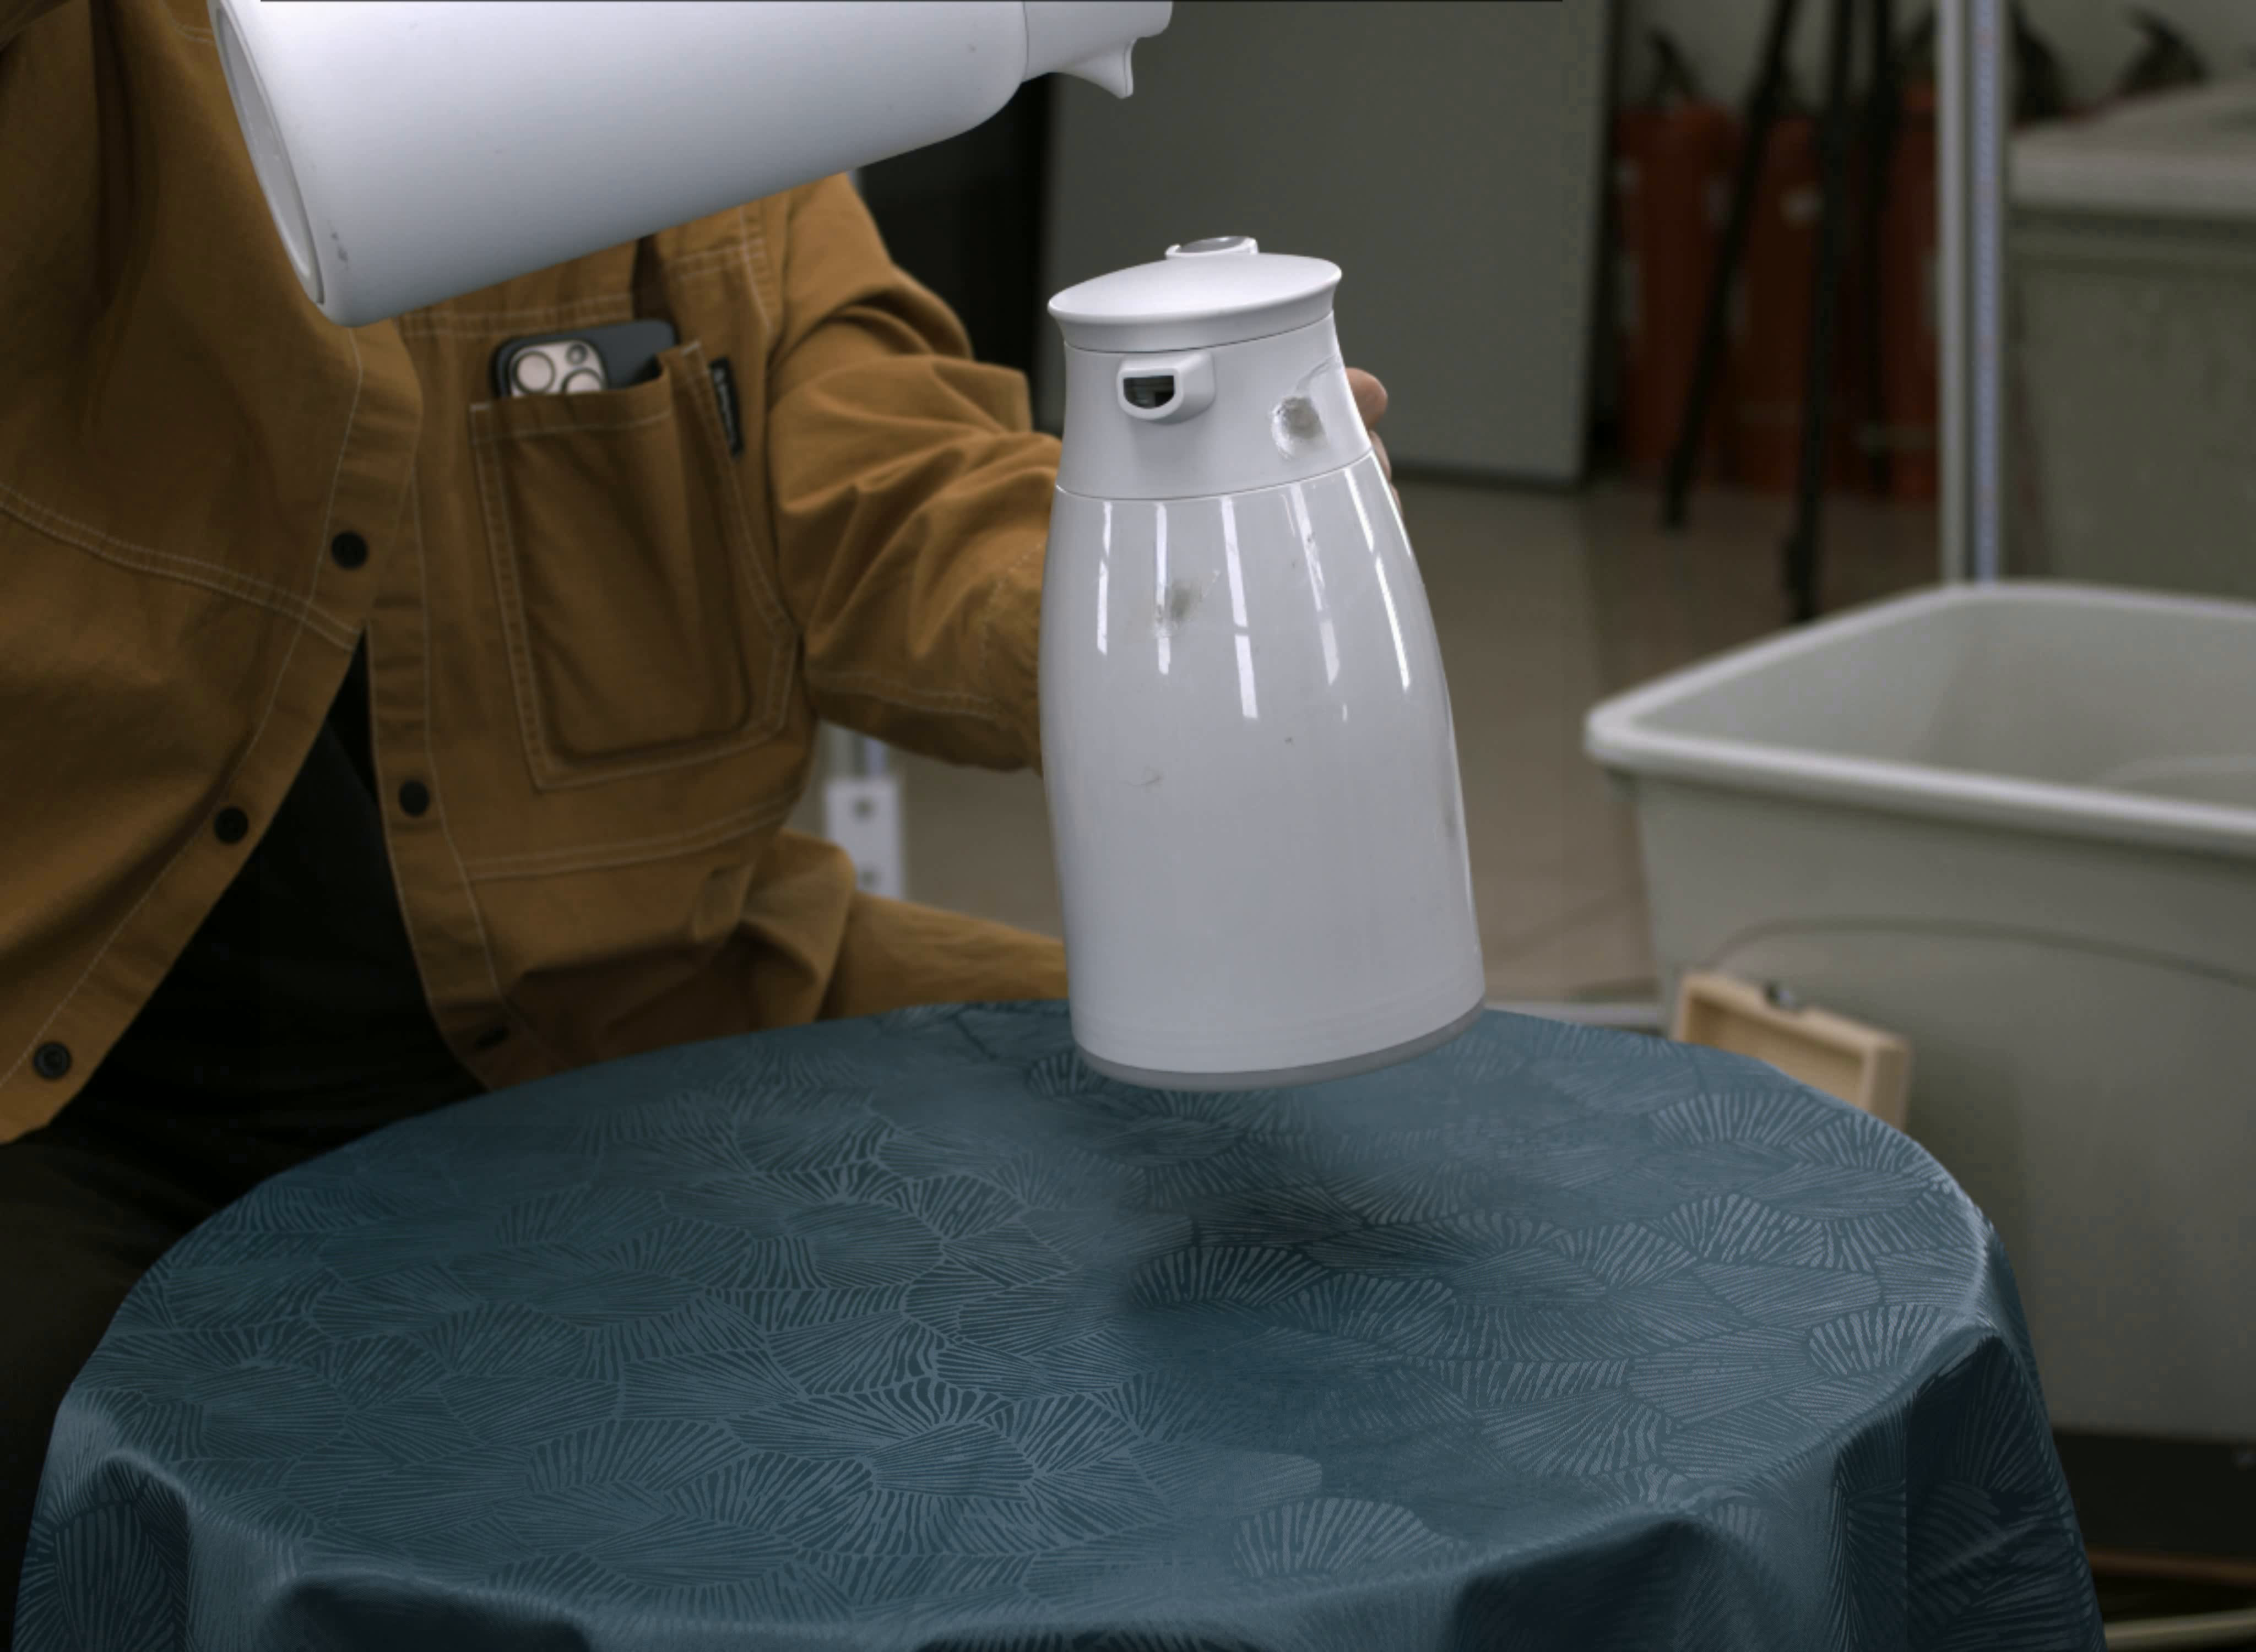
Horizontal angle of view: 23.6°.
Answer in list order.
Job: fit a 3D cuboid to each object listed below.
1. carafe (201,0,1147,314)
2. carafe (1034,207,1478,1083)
[{"bbox_3d":[-0.132,-0.258,1.564,0.265,0.173,0.125,-19,31,-8],"label":"carafe"},{"bbox_3d":[0.036,-0.064,1.692,0.132,0.251,0.166,-3,15,17],"label":"carafe"}]
